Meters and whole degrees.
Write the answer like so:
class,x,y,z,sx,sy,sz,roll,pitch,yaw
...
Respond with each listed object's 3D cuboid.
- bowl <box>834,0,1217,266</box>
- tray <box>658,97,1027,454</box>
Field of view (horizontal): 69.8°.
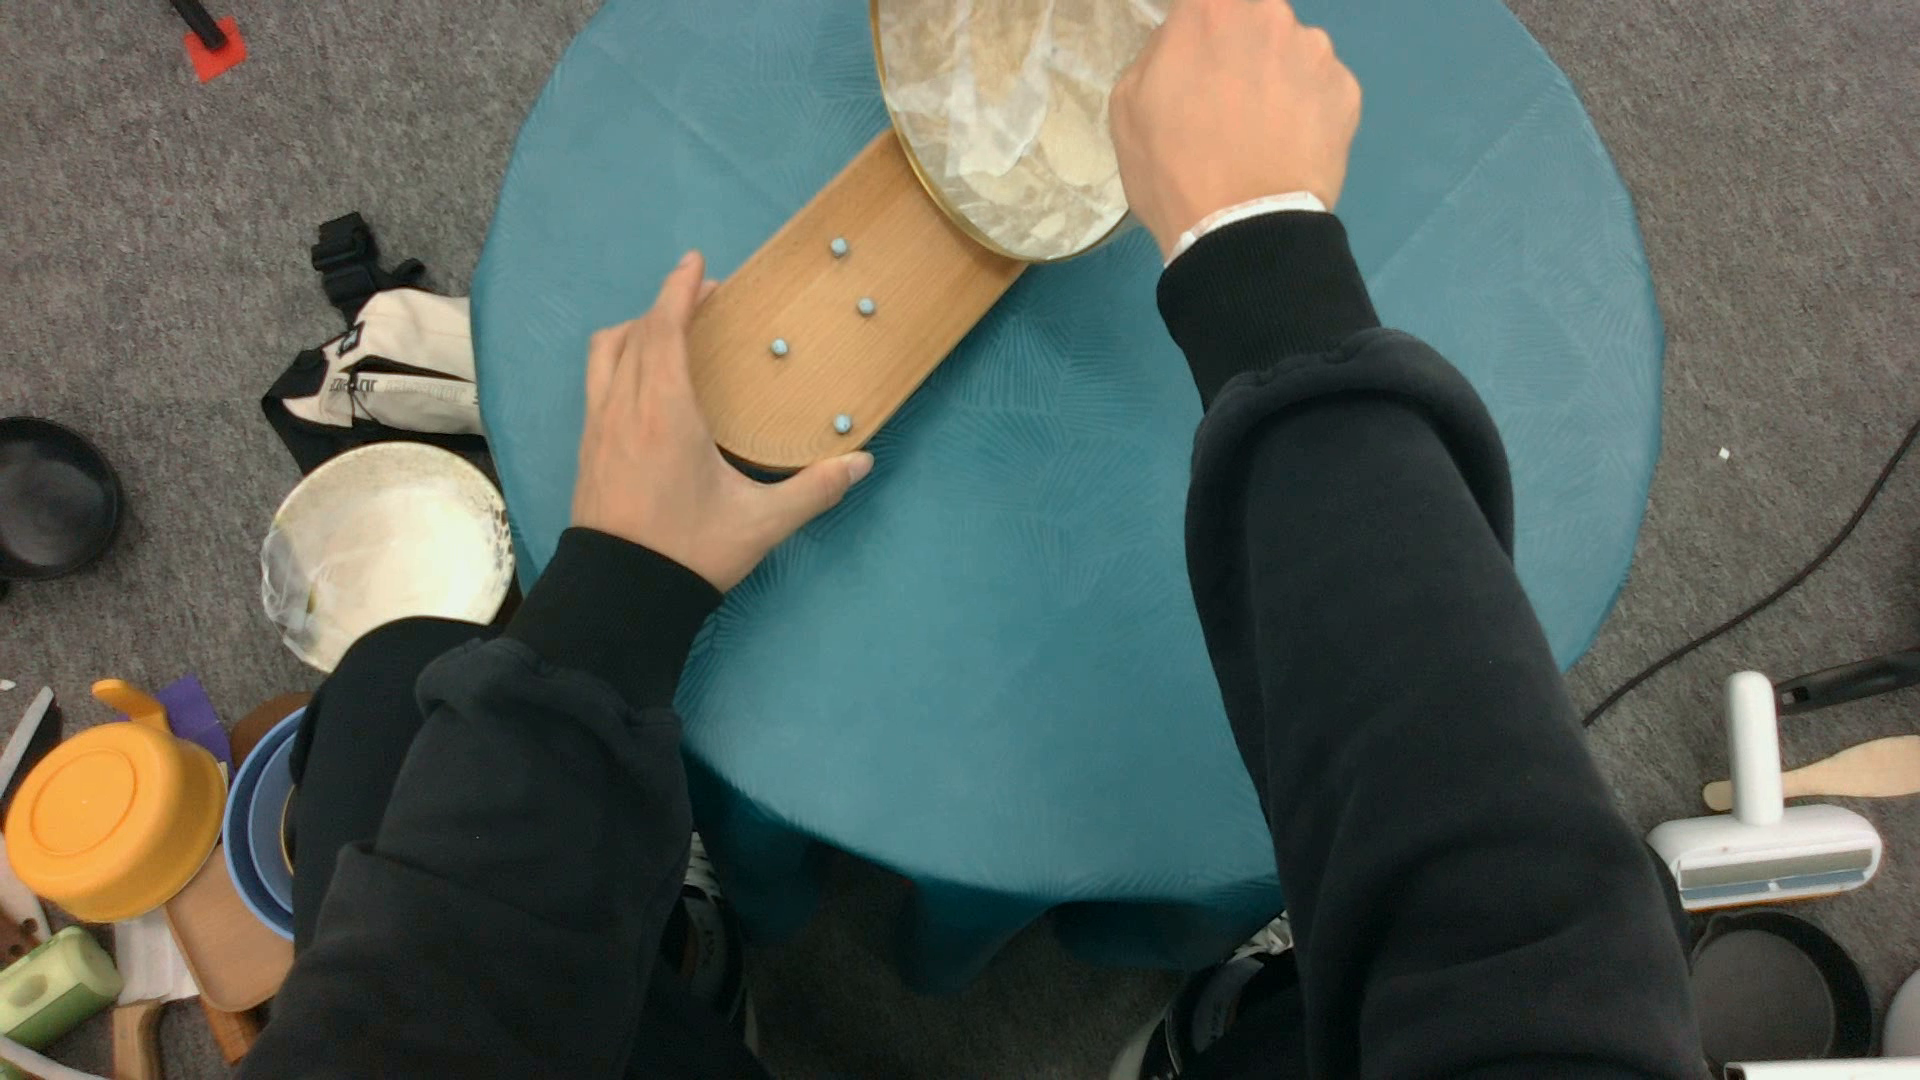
class,x,y,z,sx,sy,sz,roll,pitch,yaw
bowl,0.042,-0.239,0.632,0.095,0.213,0.215,-26,75,-35
tray,-0.052,-0.132,0.667,0.101,0.020,0.232,37,63,2
